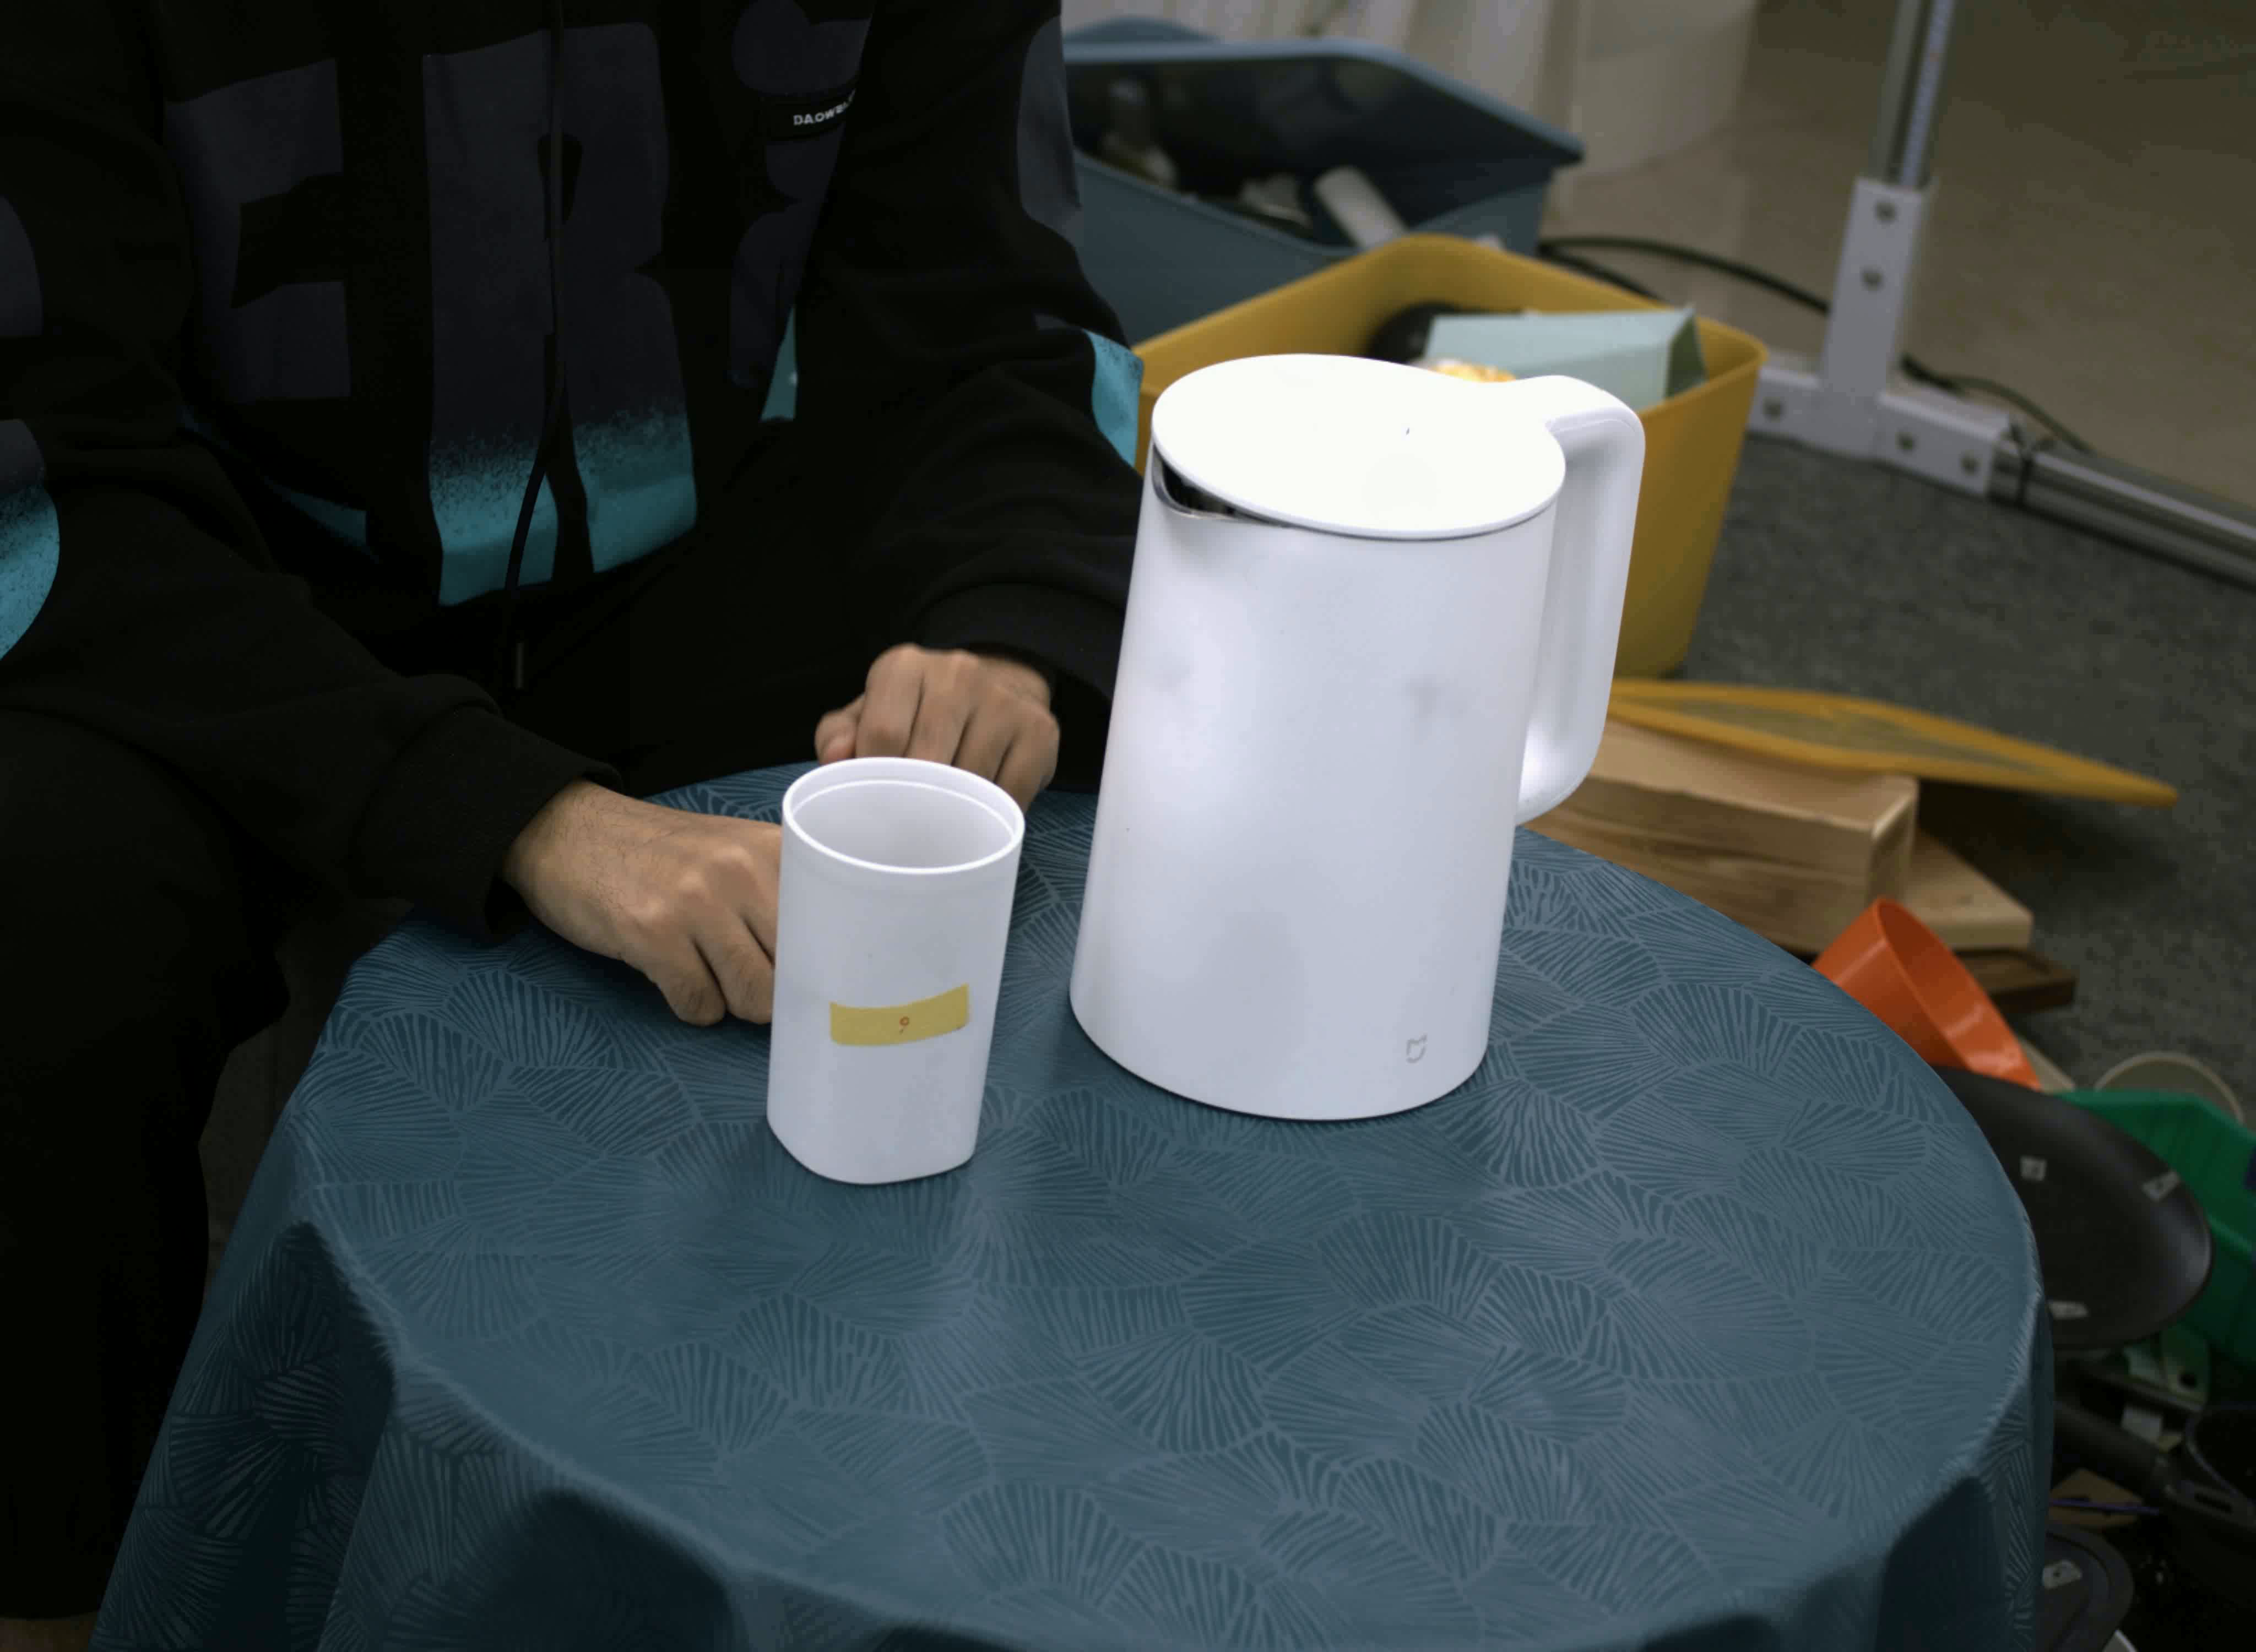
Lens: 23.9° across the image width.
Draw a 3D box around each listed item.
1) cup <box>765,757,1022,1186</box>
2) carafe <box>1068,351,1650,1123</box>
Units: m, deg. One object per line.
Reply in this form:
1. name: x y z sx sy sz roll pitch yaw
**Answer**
1. cup: -0.081 0.051 1.787 0.081 0.125 0.082 5 26 -3
2. carafe: 0.088 -0.037 1.880 0.212 0.239 0.153 -15 35 -35
